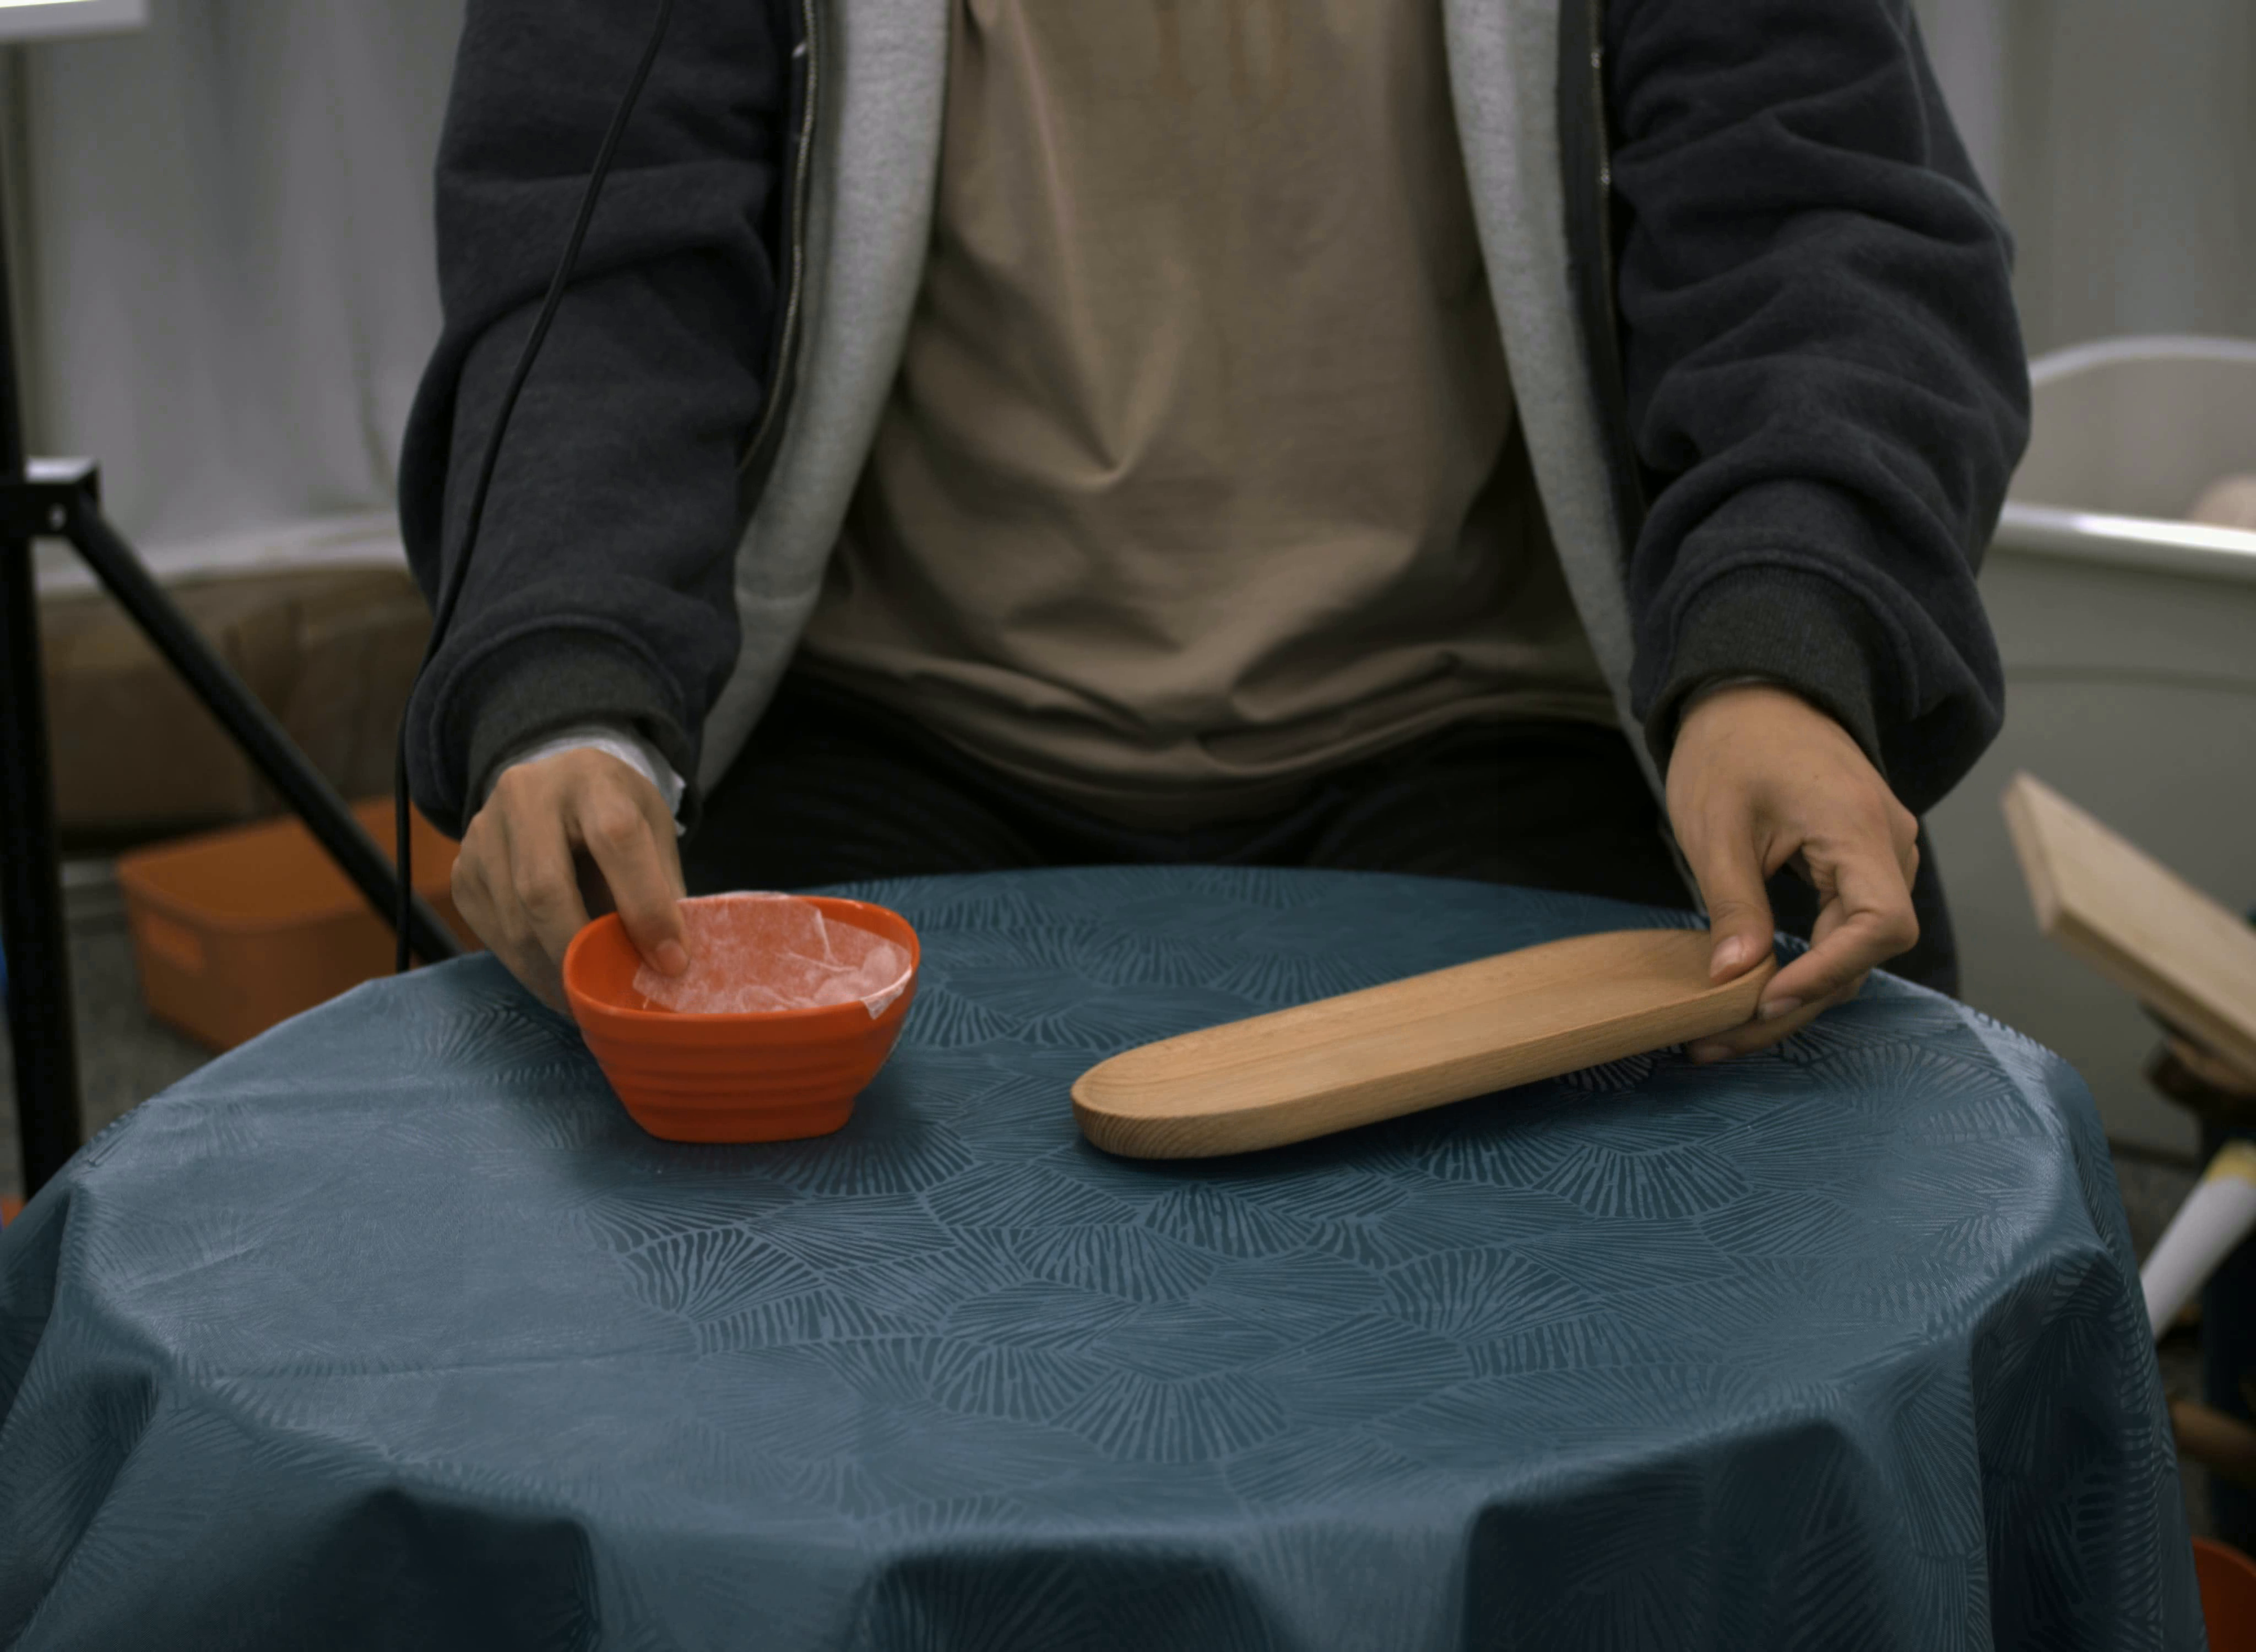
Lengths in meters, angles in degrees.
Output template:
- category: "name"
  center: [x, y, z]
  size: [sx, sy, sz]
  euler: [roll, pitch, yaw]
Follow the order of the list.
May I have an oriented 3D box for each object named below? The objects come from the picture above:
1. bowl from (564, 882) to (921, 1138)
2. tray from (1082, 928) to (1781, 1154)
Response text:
- category: "bowl"
  center: [-0.117, 0.060, 1.643]
  size: [0.118, 0.051, 0.119]
  euler: [-3, 20, 0]
- category: "tray"
  center: [0.095, 0.066, 1.630]
  size: [0.227, 0.020, 0.103]
  euler: [-12, 12, -21]
